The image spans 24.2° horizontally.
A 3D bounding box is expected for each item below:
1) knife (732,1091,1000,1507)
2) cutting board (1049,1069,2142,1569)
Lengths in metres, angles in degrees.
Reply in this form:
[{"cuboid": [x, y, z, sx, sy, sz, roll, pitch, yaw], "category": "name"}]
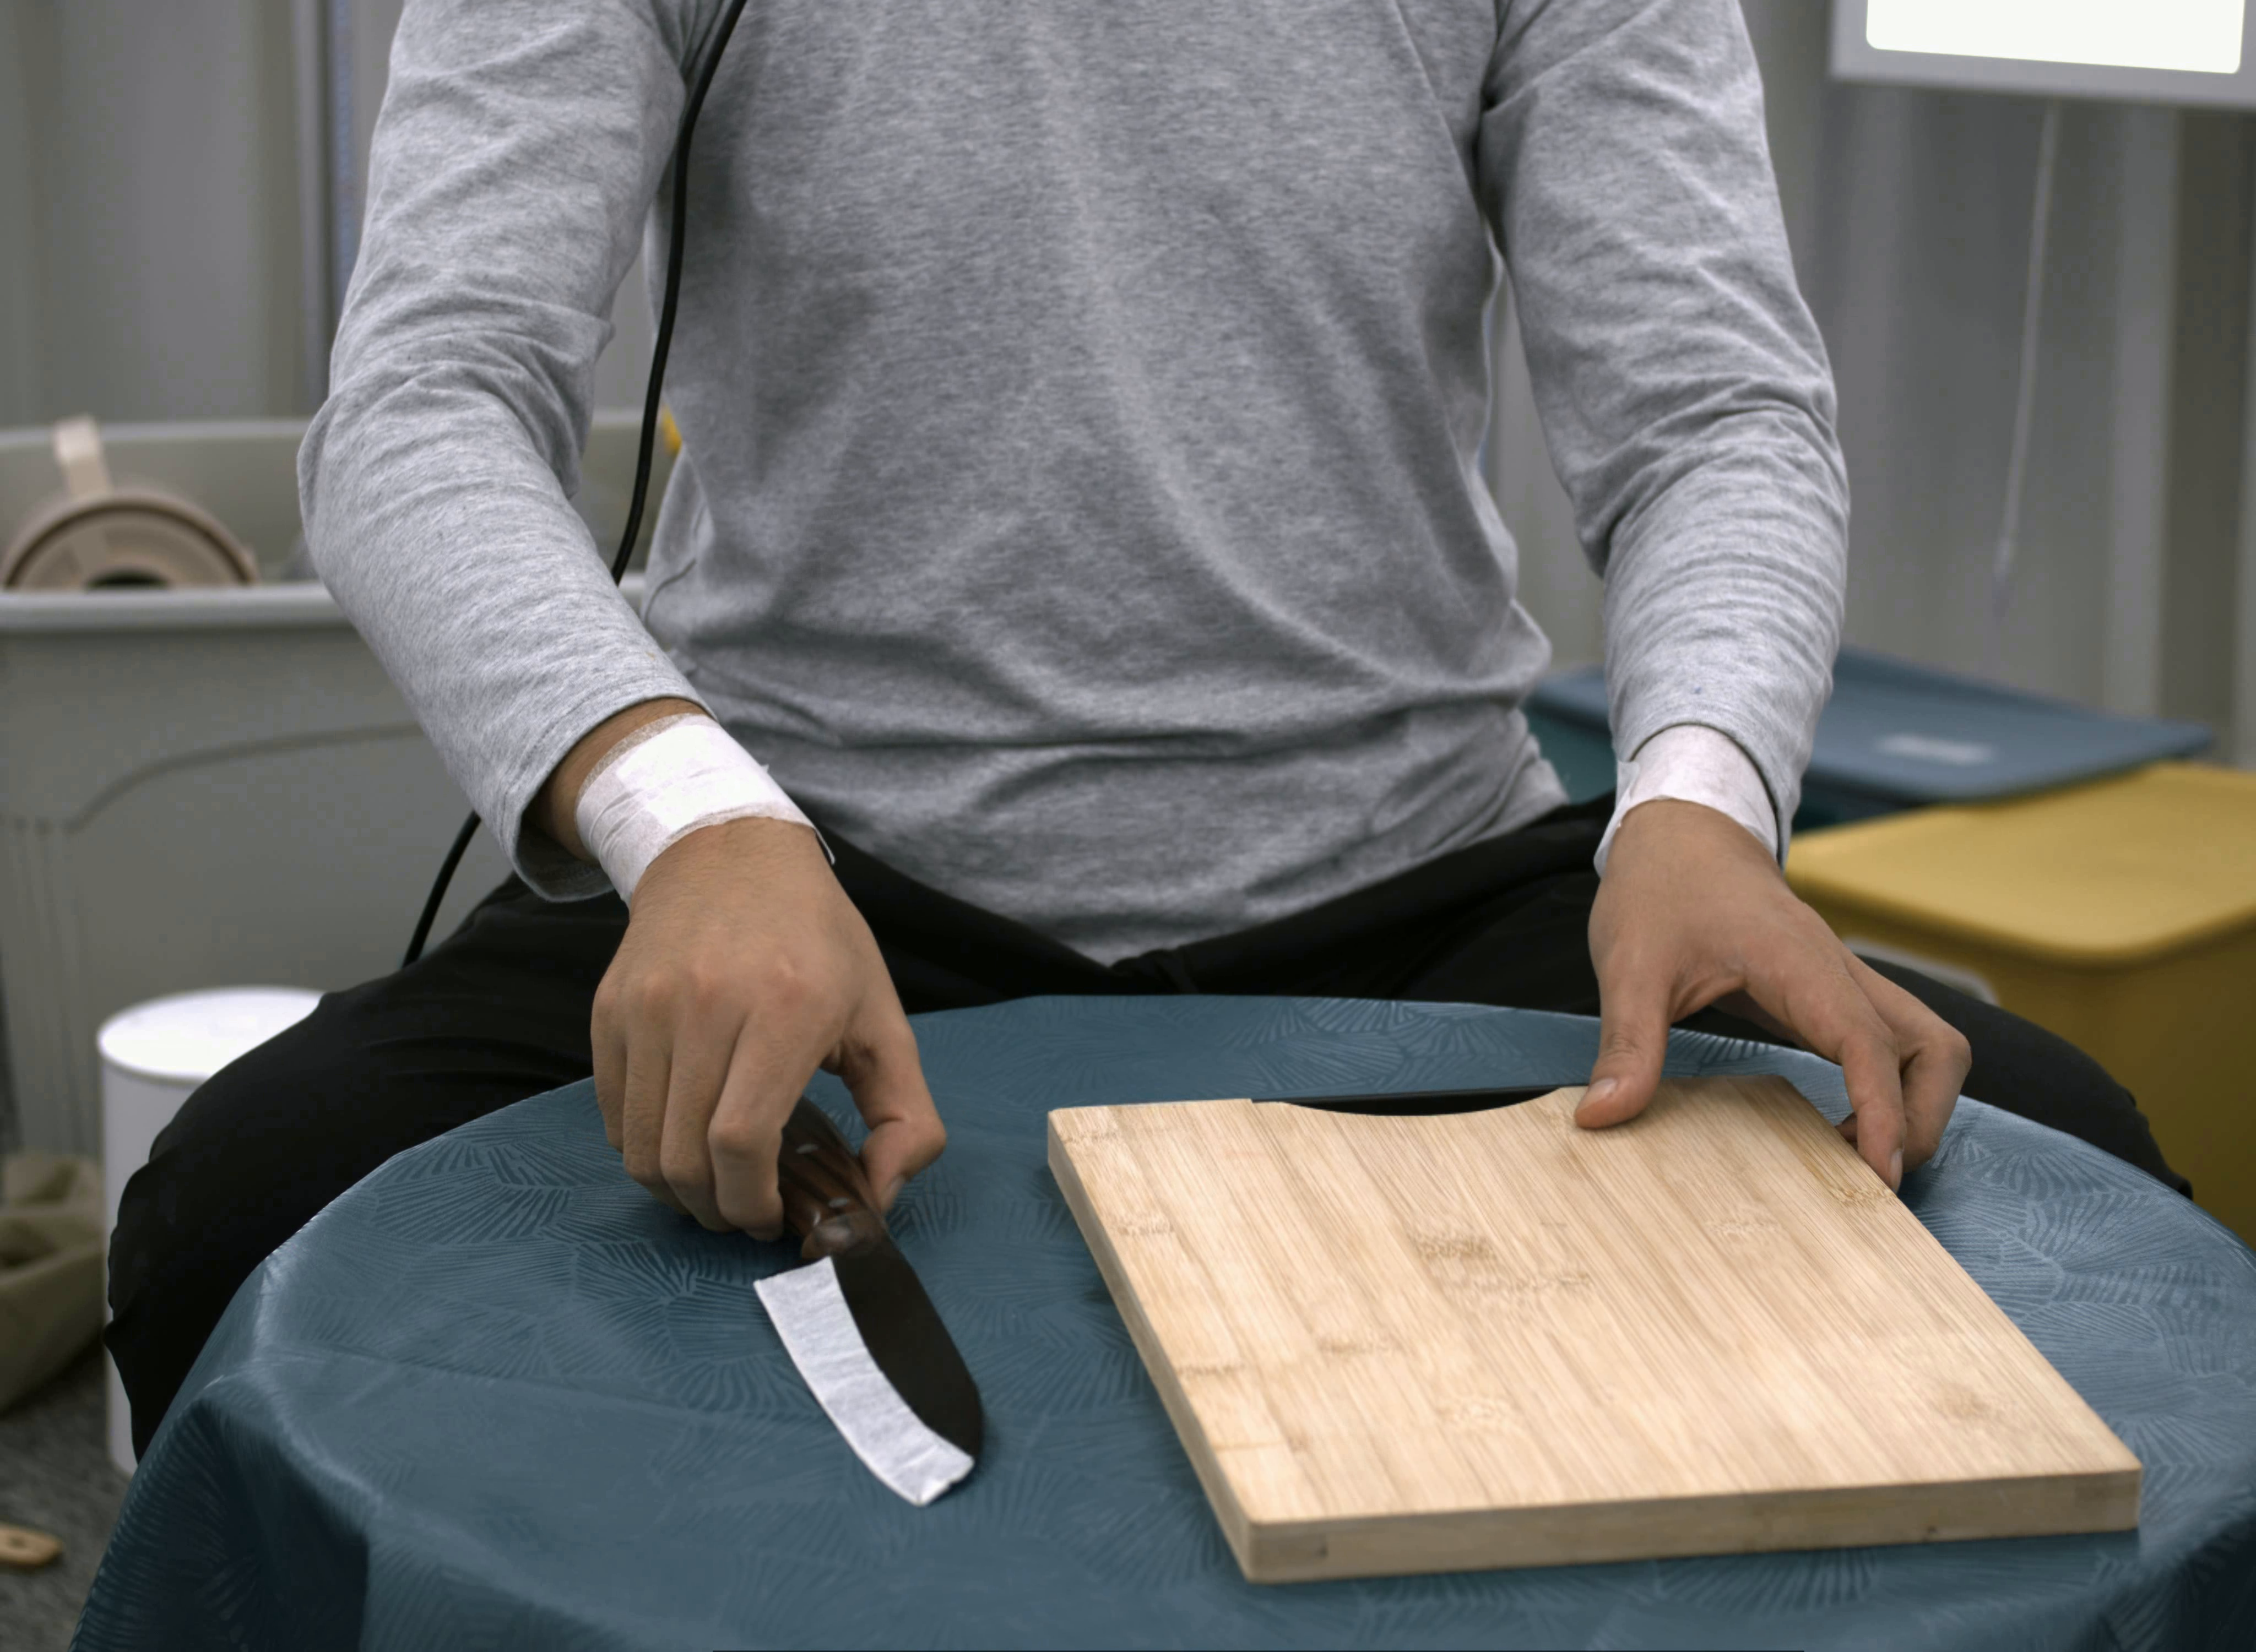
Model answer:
[{"cuboid": [-0.080, 0.134, 1.512, 0.050, 0.020, 0.286, -15, 20, -8], "category": "knife"}, {"cuboid": [0.120, 0.135, 1.516, 0.251, 0.024, 0.345, -2, 15, -10], "category": "cutting board"}]
